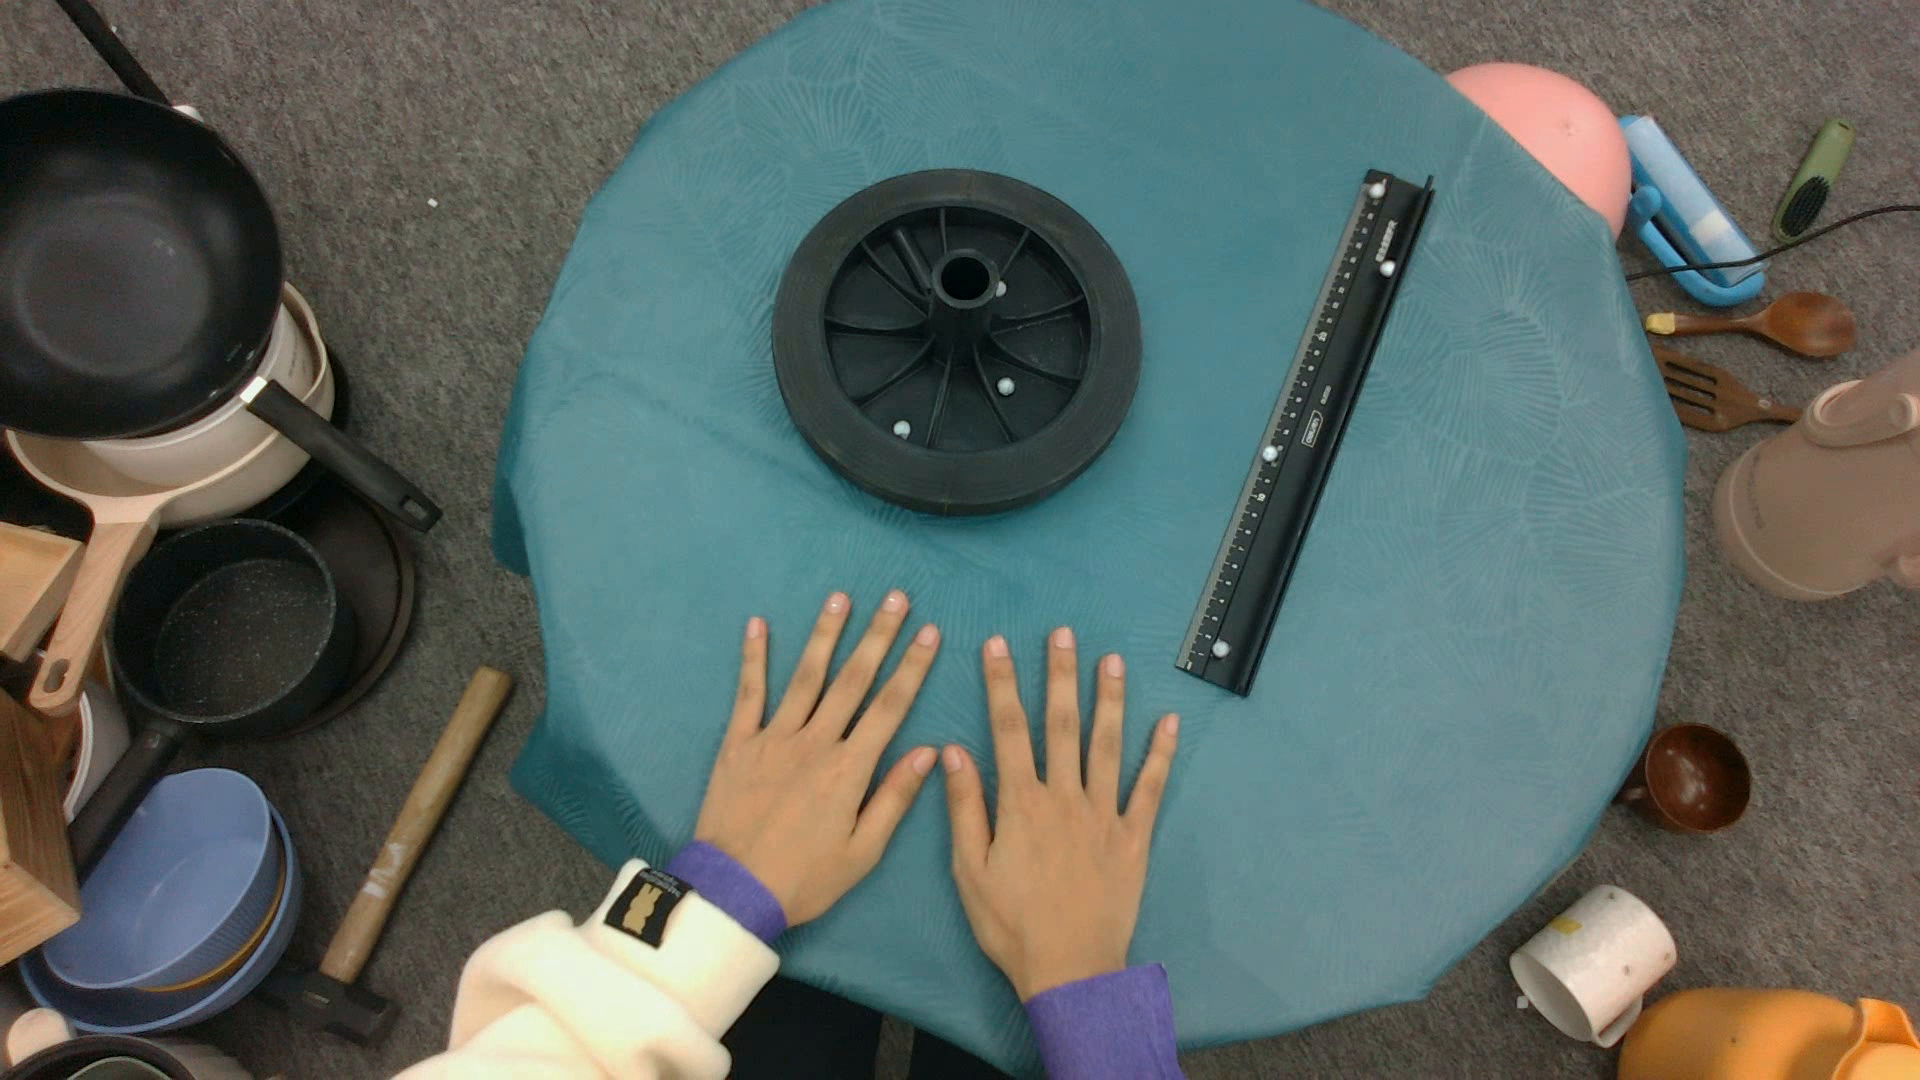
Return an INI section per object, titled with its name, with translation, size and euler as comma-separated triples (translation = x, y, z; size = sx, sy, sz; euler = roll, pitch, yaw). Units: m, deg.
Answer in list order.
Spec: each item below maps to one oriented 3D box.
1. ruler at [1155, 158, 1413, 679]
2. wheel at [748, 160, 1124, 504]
[ruler]
translation = 0.174, -0.076, 0.715
size = 0.039, 0.017, 0.313
euler = 23, 72, 6
[wheel]
translation = -0.010, -0.115, 0.679
size = 0.190, 0.079, 0.188
euler = 39, 73, 8
